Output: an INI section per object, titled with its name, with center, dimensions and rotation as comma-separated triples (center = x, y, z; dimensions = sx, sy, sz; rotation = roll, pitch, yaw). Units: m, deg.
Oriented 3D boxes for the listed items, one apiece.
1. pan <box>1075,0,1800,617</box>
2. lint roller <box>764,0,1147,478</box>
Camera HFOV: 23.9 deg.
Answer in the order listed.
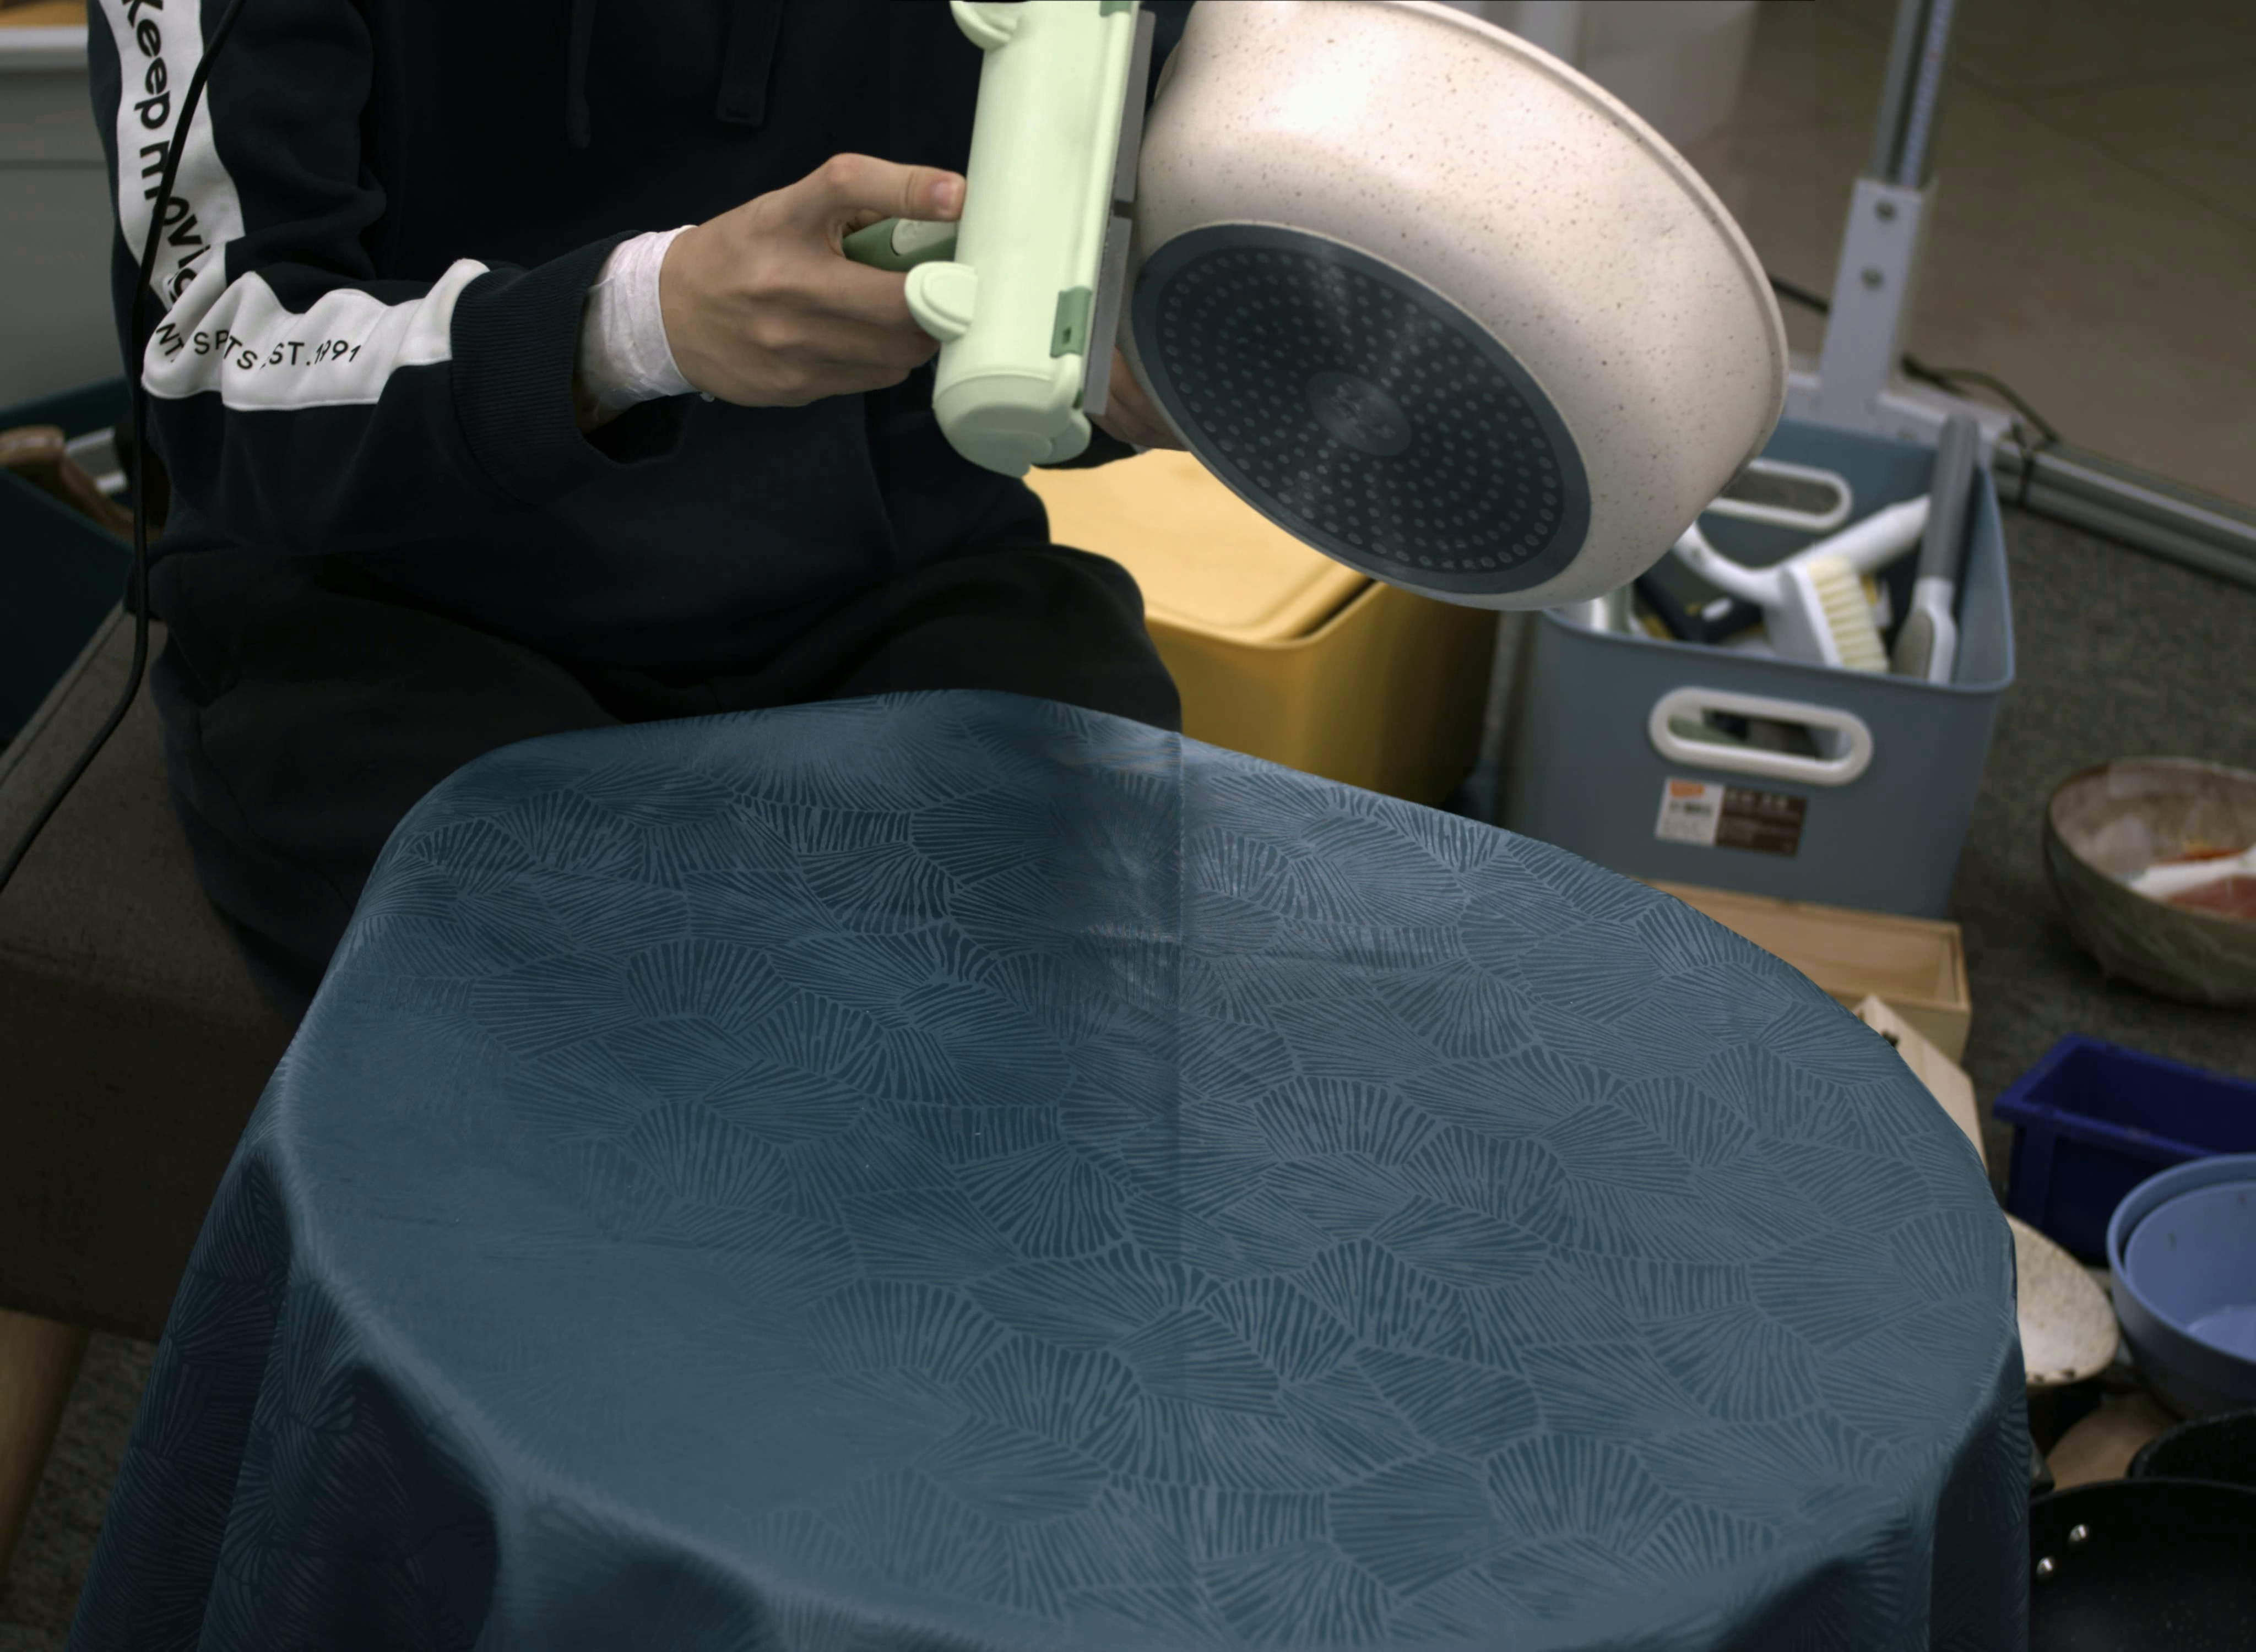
[pan]
center = 0.055, -0.163, 1.937
dimensions = 0.436, 0.261, 0.102
rotation = -14, 40, 56
[lint roller]
center = -0.076, -0.208, 1.837
dimensions = 0.184, 0.200, 0.081
rotation = -14, -34, 37
